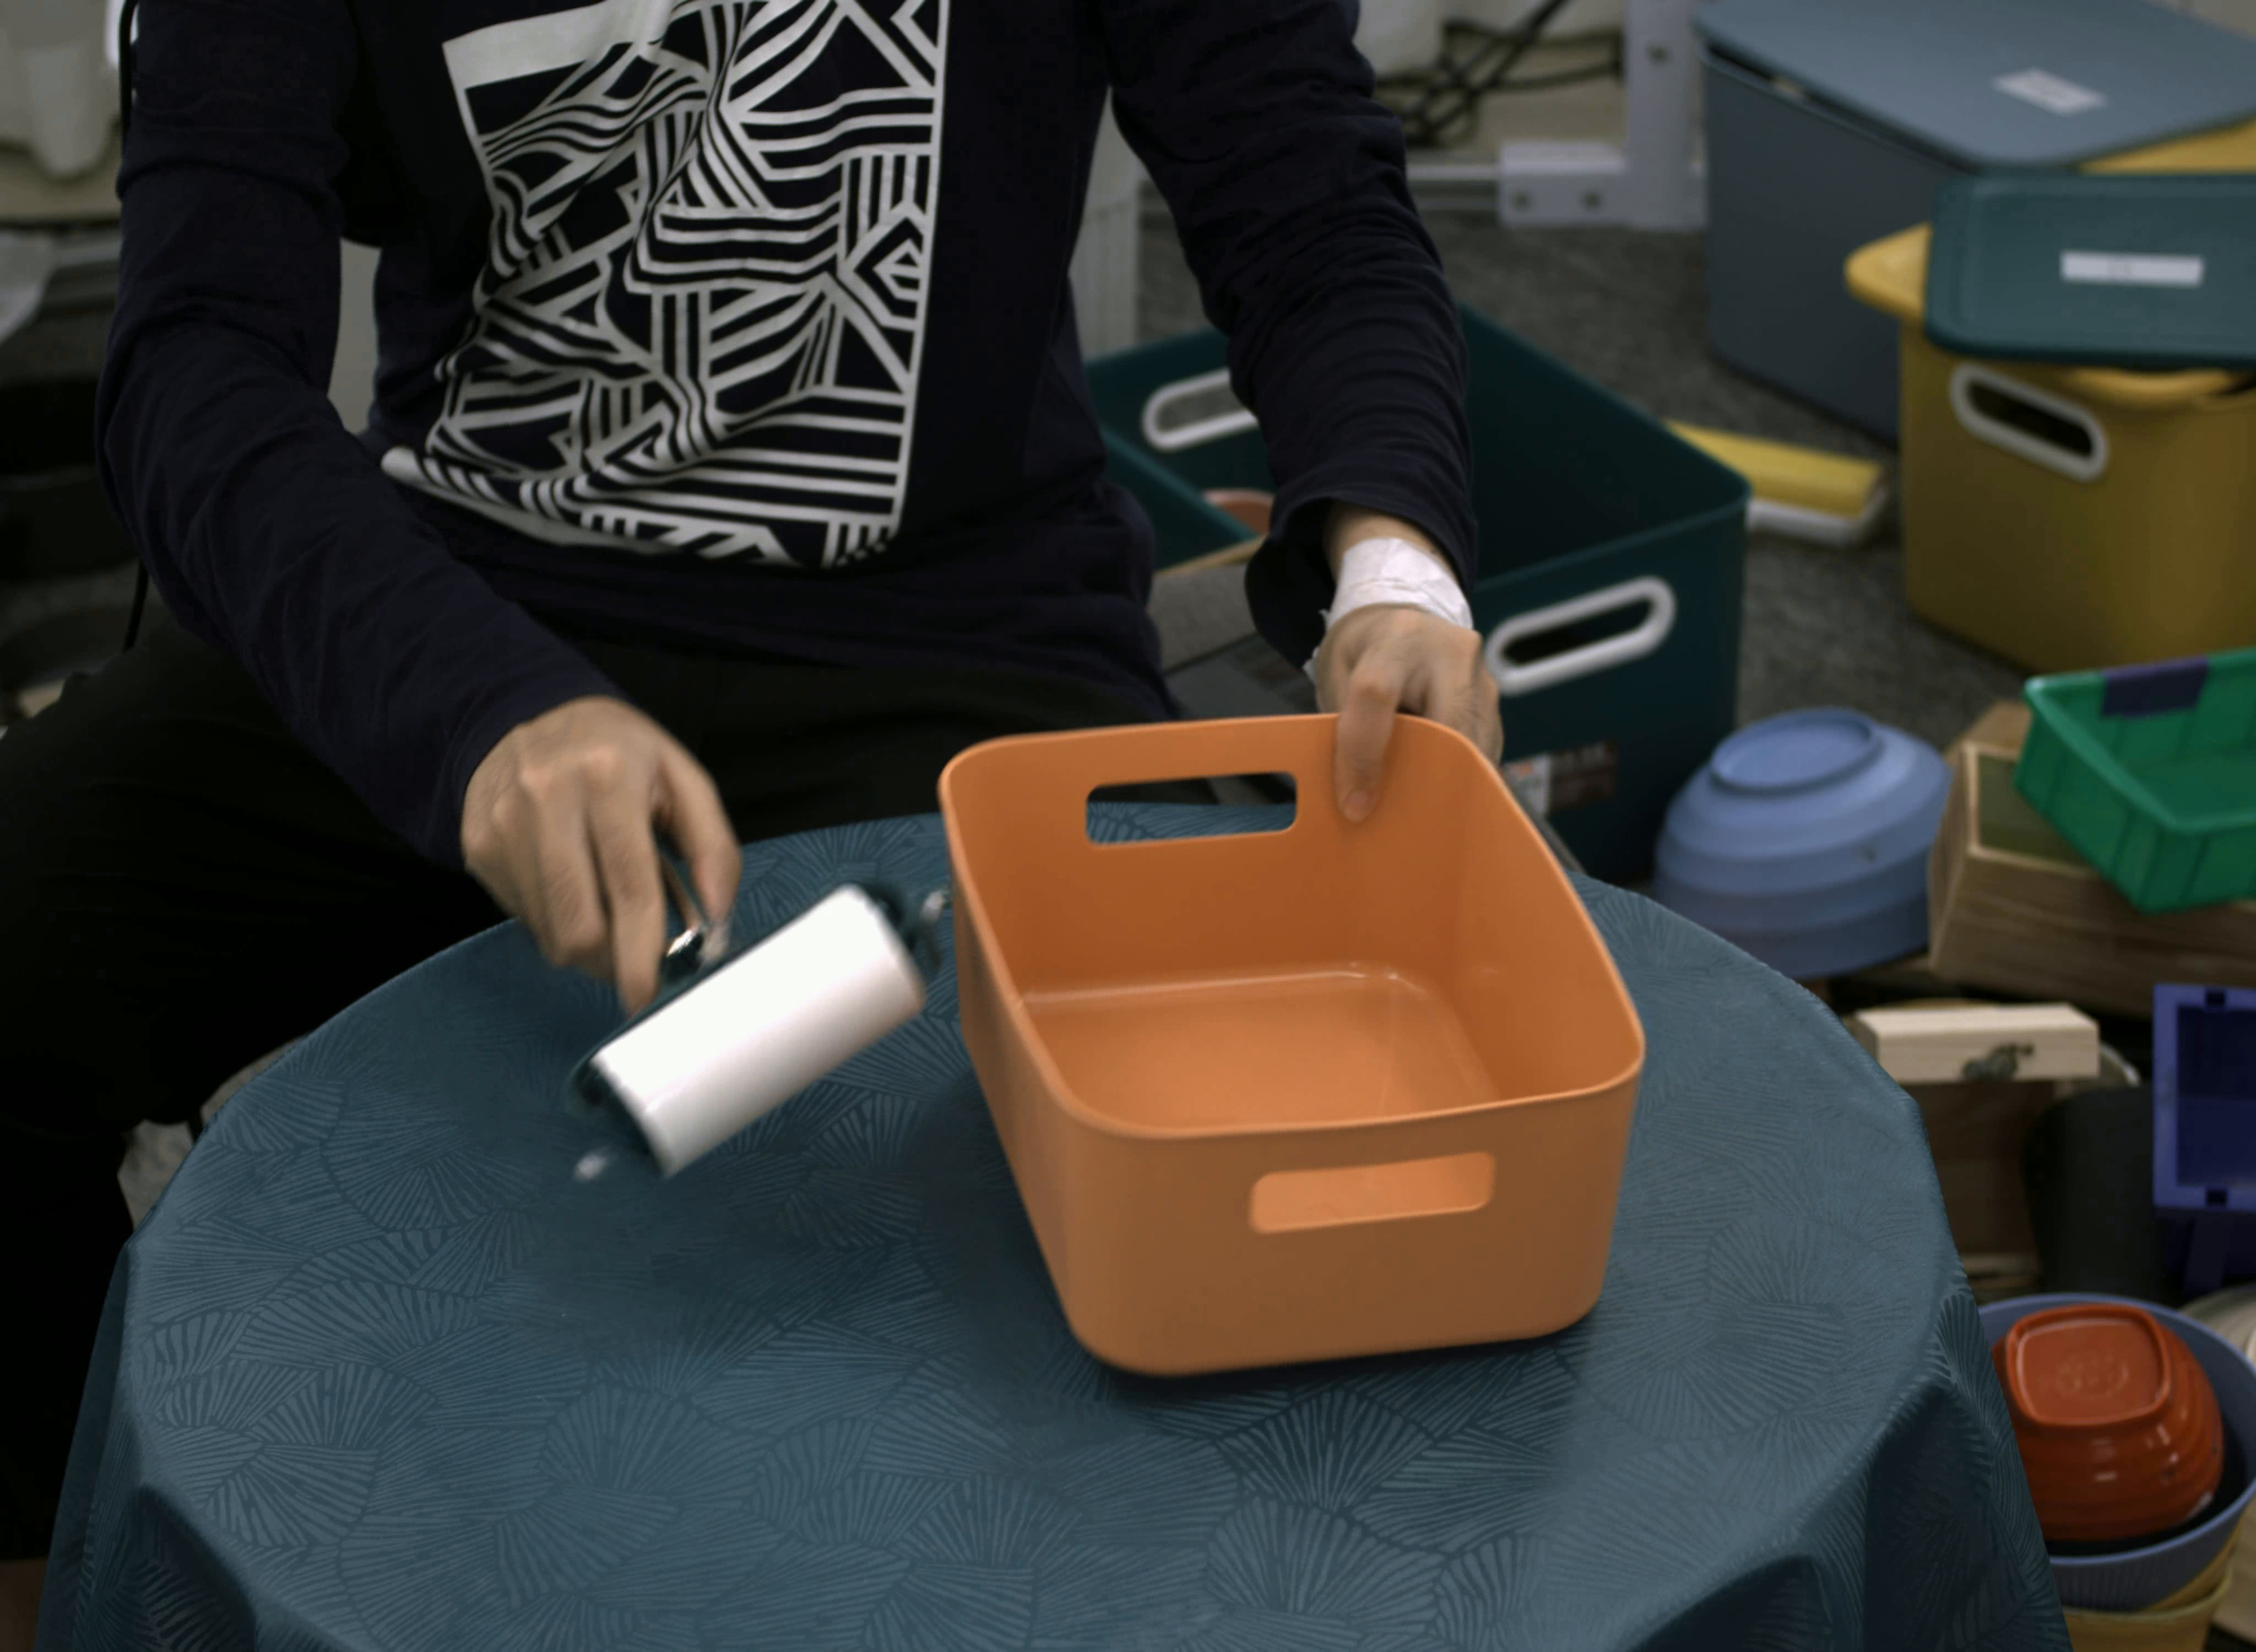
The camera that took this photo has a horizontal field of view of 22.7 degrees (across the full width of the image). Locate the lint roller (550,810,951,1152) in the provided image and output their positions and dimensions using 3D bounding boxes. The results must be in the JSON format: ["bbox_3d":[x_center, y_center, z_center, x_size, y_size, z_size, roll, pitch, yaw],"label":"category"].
[{"bbox_3d":[-0.150,0.027,1.865,0.135,0.048,0.181,-35,43,-14],"label":"lint roller"}]

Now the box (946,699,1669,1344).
[{"bbox_3d":[0.048,0.063,1.834,0.199,0.101,0.276,-1,26,-14],"label":"box"}]
